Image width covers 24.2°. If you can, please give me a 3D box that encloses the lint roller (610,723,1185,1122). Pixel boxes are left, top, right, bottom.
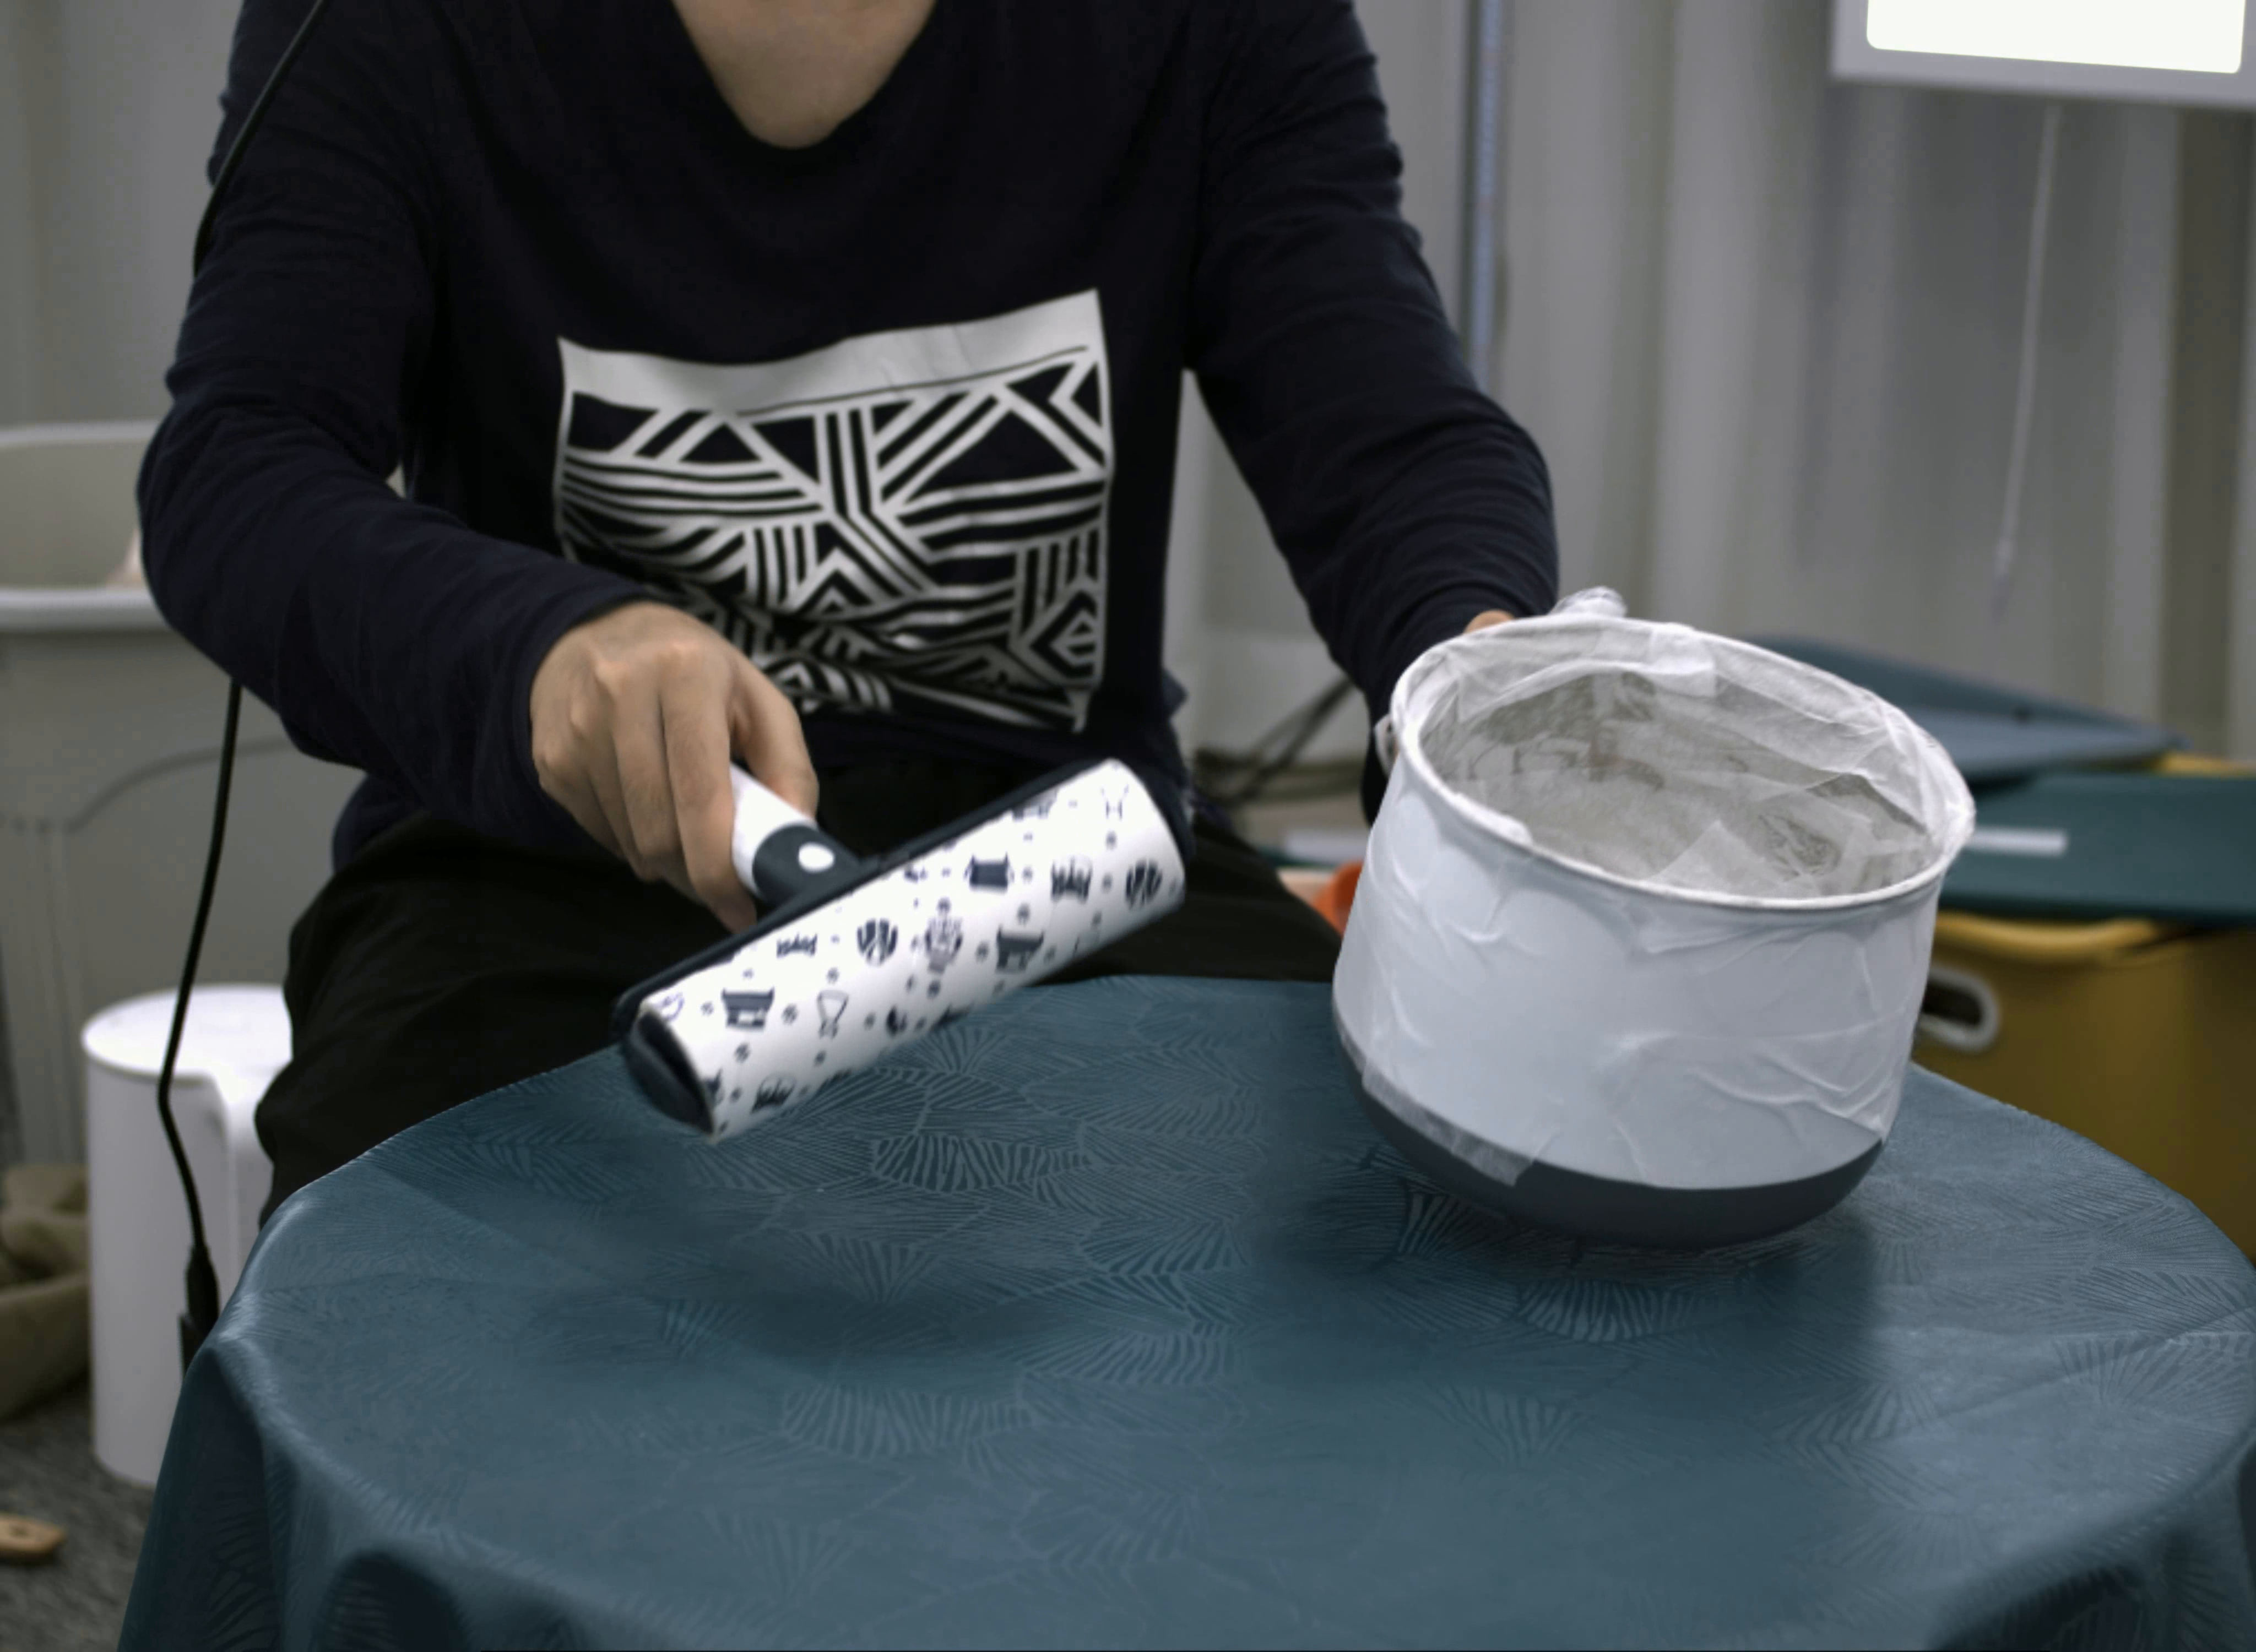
[{"bbox_3d":[-0.110,0.002,1.625,0.176,0.051,0.244,-30,28,-19],"label":"lint roller"}]

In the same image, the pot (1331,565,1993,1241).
[{"bbox_3d":[0.151,0.015,1.609,0.179,0.138,0.231,6,31,-16],"label":"pot"}]
